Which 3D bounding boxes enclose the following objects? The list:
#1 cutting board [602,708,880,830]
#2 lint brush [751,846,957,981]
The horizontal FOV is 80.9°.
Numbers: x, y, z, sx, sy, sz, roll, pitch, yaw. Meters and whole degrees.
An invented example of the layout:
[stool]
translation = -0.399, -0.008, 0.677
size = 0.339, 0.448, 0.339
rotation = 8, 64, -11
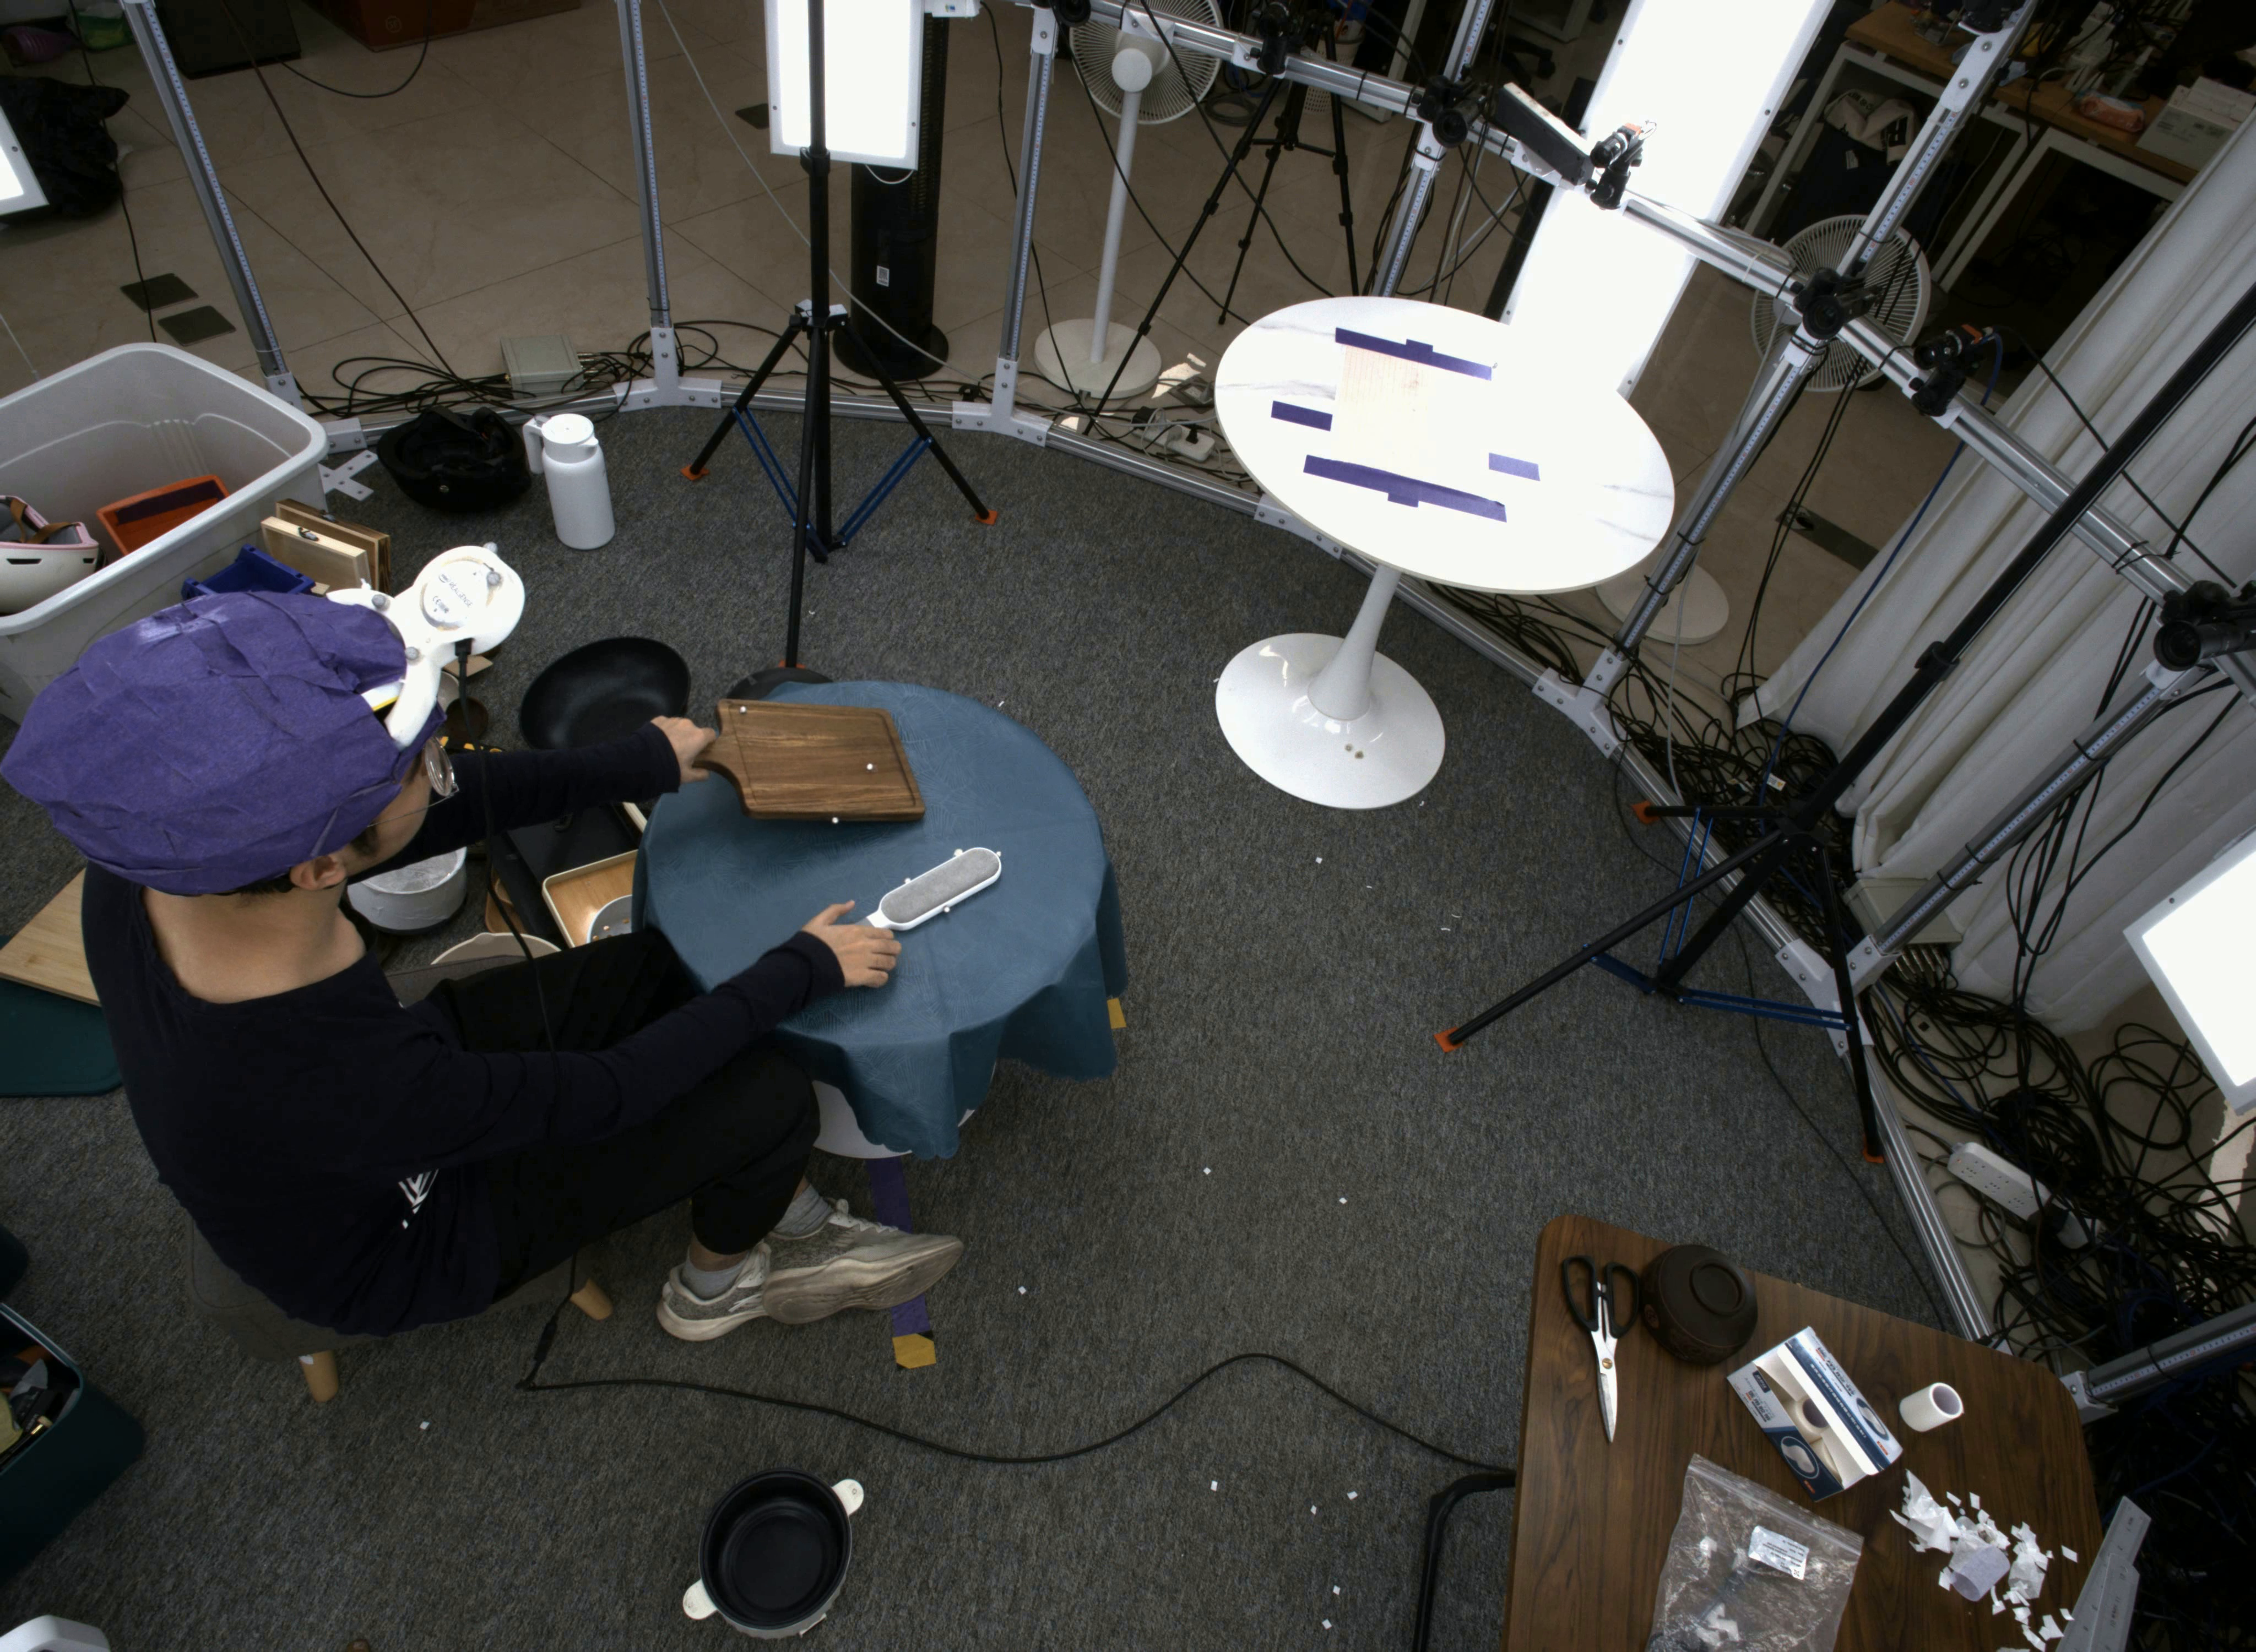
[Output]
[cutting board]
translation = -0.515, -0.079, 1.689
size = 0.358, 0.023, 0.196
rotation = -3, 53, -39
[lint brush]
translation = -0.347, 0.108, 1.657
size = 0.310, 0.021, 0.059
rotation = -32, 72, -31
